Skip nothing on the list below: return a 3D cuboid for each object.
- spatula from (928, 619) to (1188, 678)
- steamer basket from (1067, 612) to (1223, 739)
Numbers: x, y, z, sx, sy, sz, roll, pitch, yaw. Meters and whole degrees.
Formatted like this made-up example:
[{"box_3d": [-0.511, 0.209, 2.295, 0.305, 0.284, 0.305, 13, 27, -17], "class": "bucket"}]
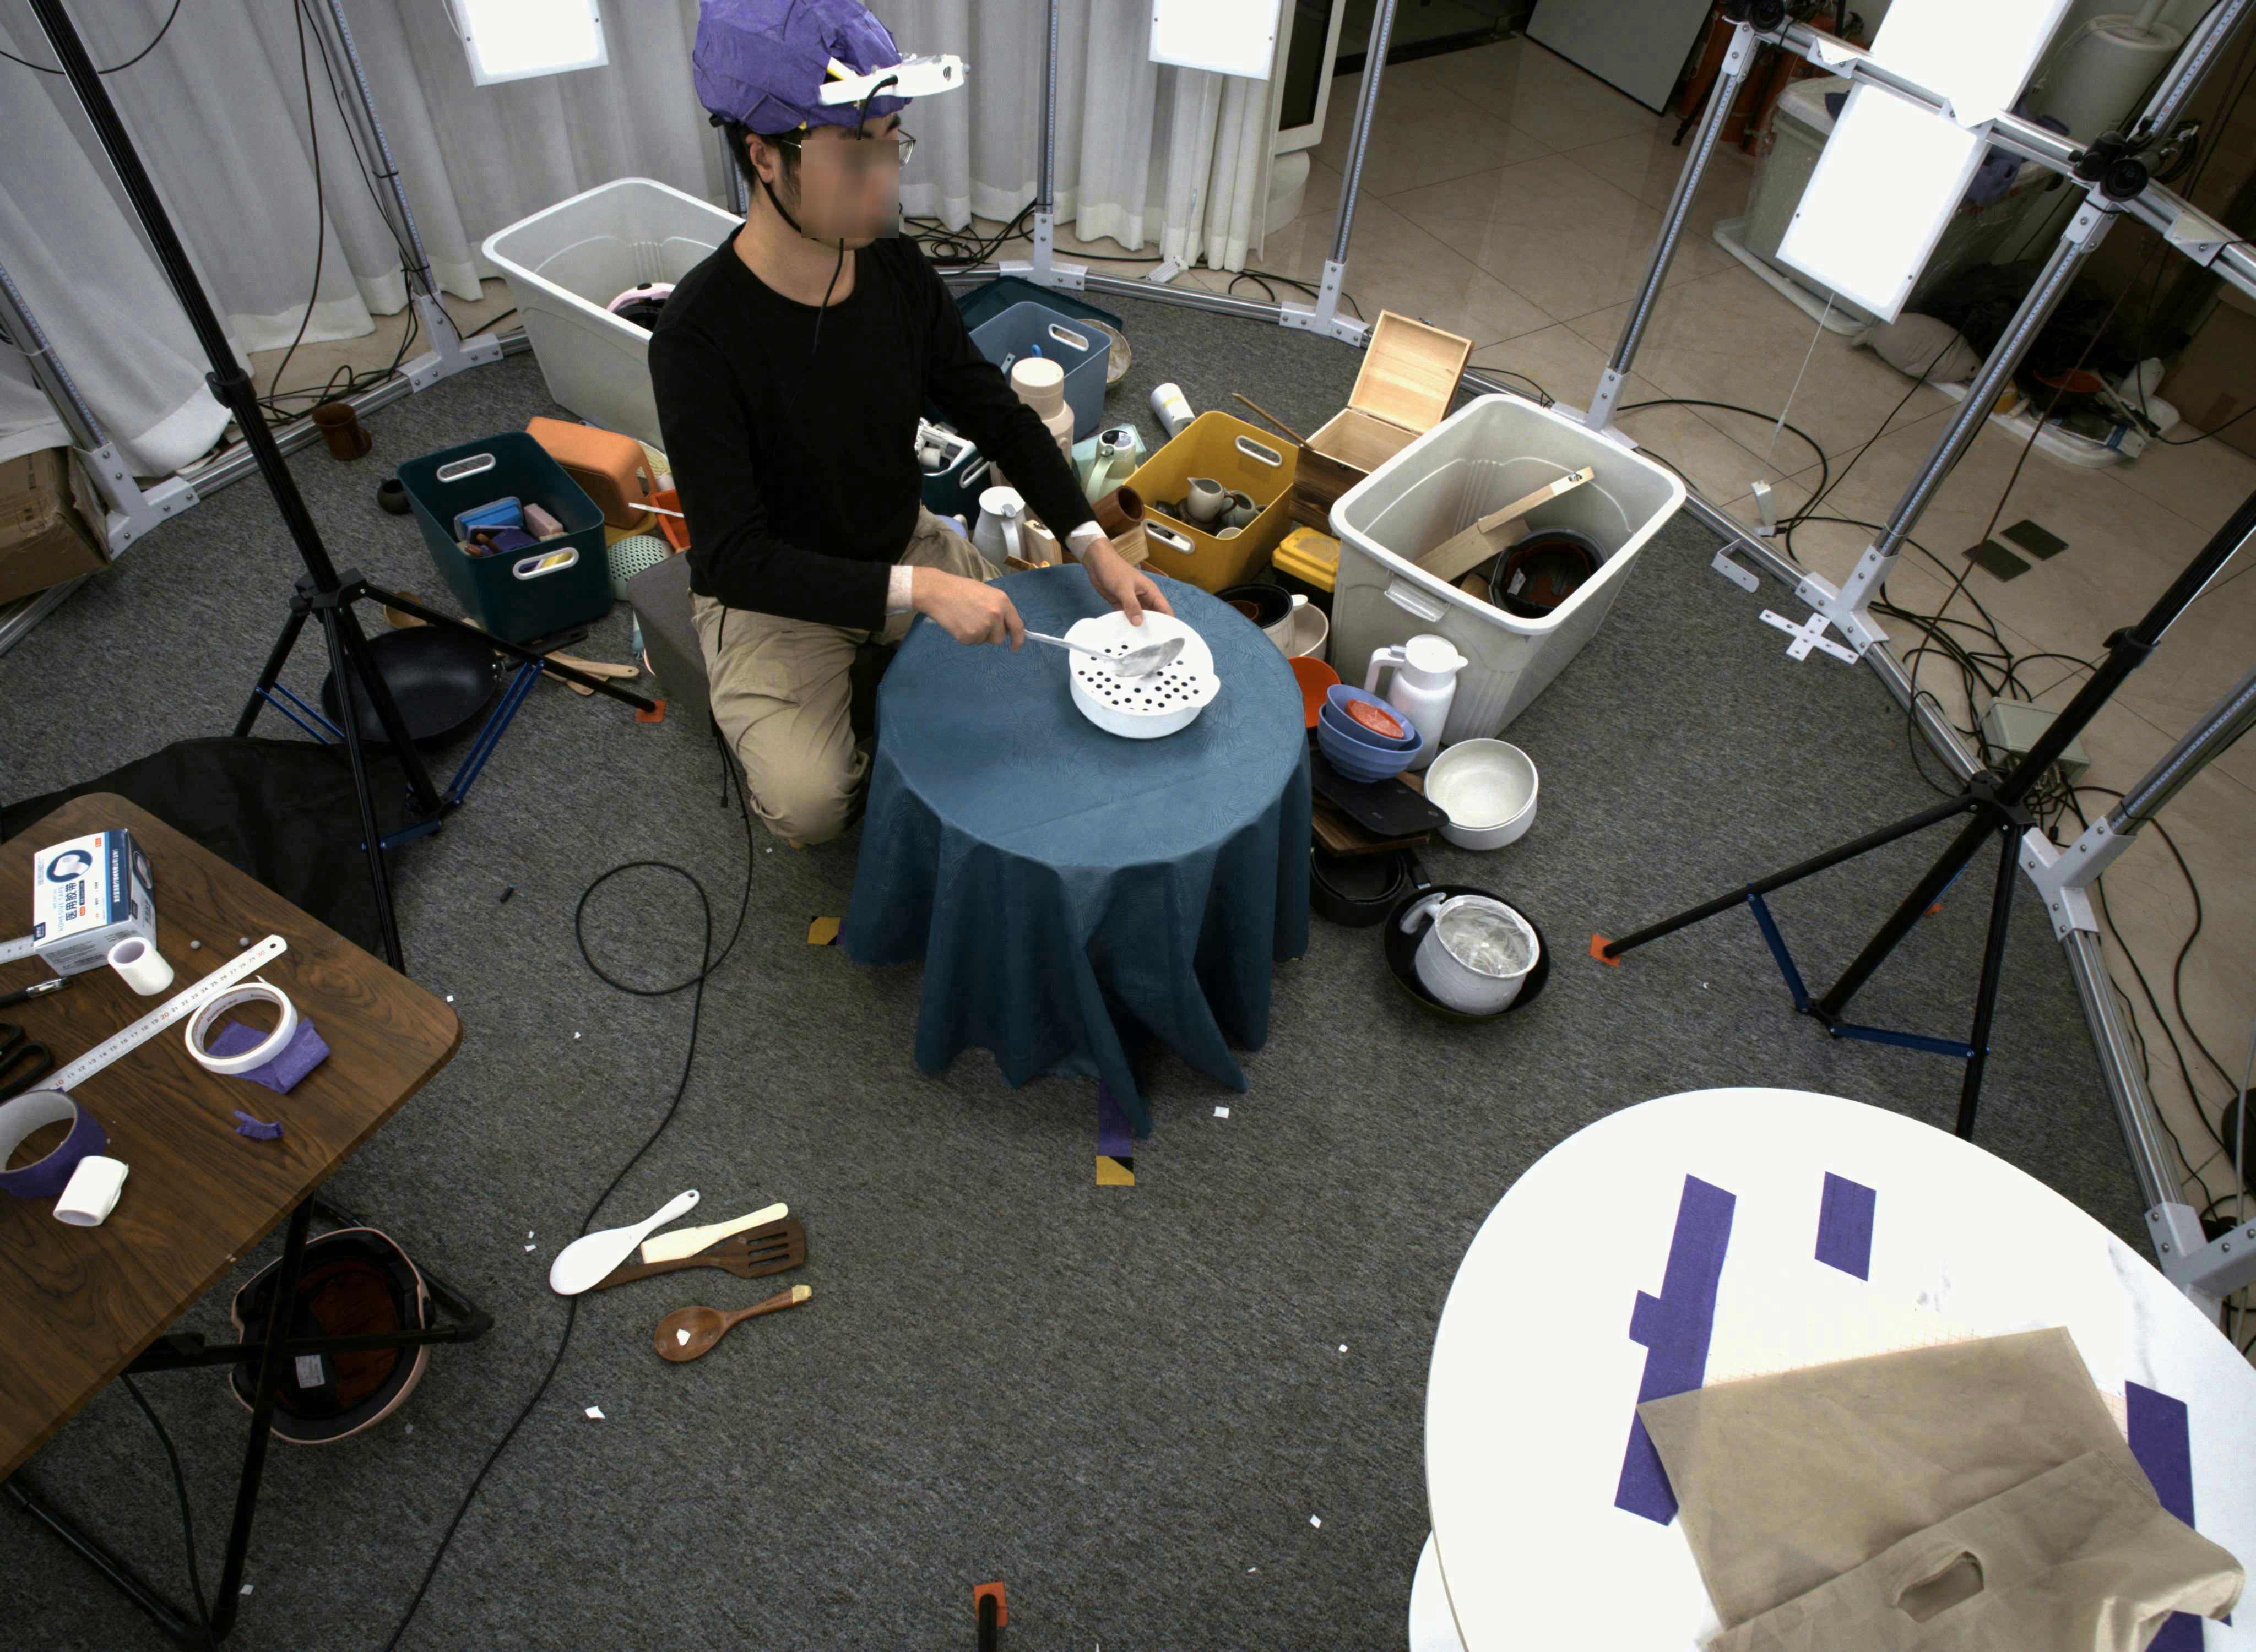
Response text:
[{"box_3d": [-0.091, -0.251, 1.743, 0.362, 0.097, 0.045, 10, 63, -22], "class": "spatula"}, {"box_3d": [0.021, -0.211, 1.805, 0.232, 0.067, 0.205, 27, 53, 16], "class": "steamer basket"}]
